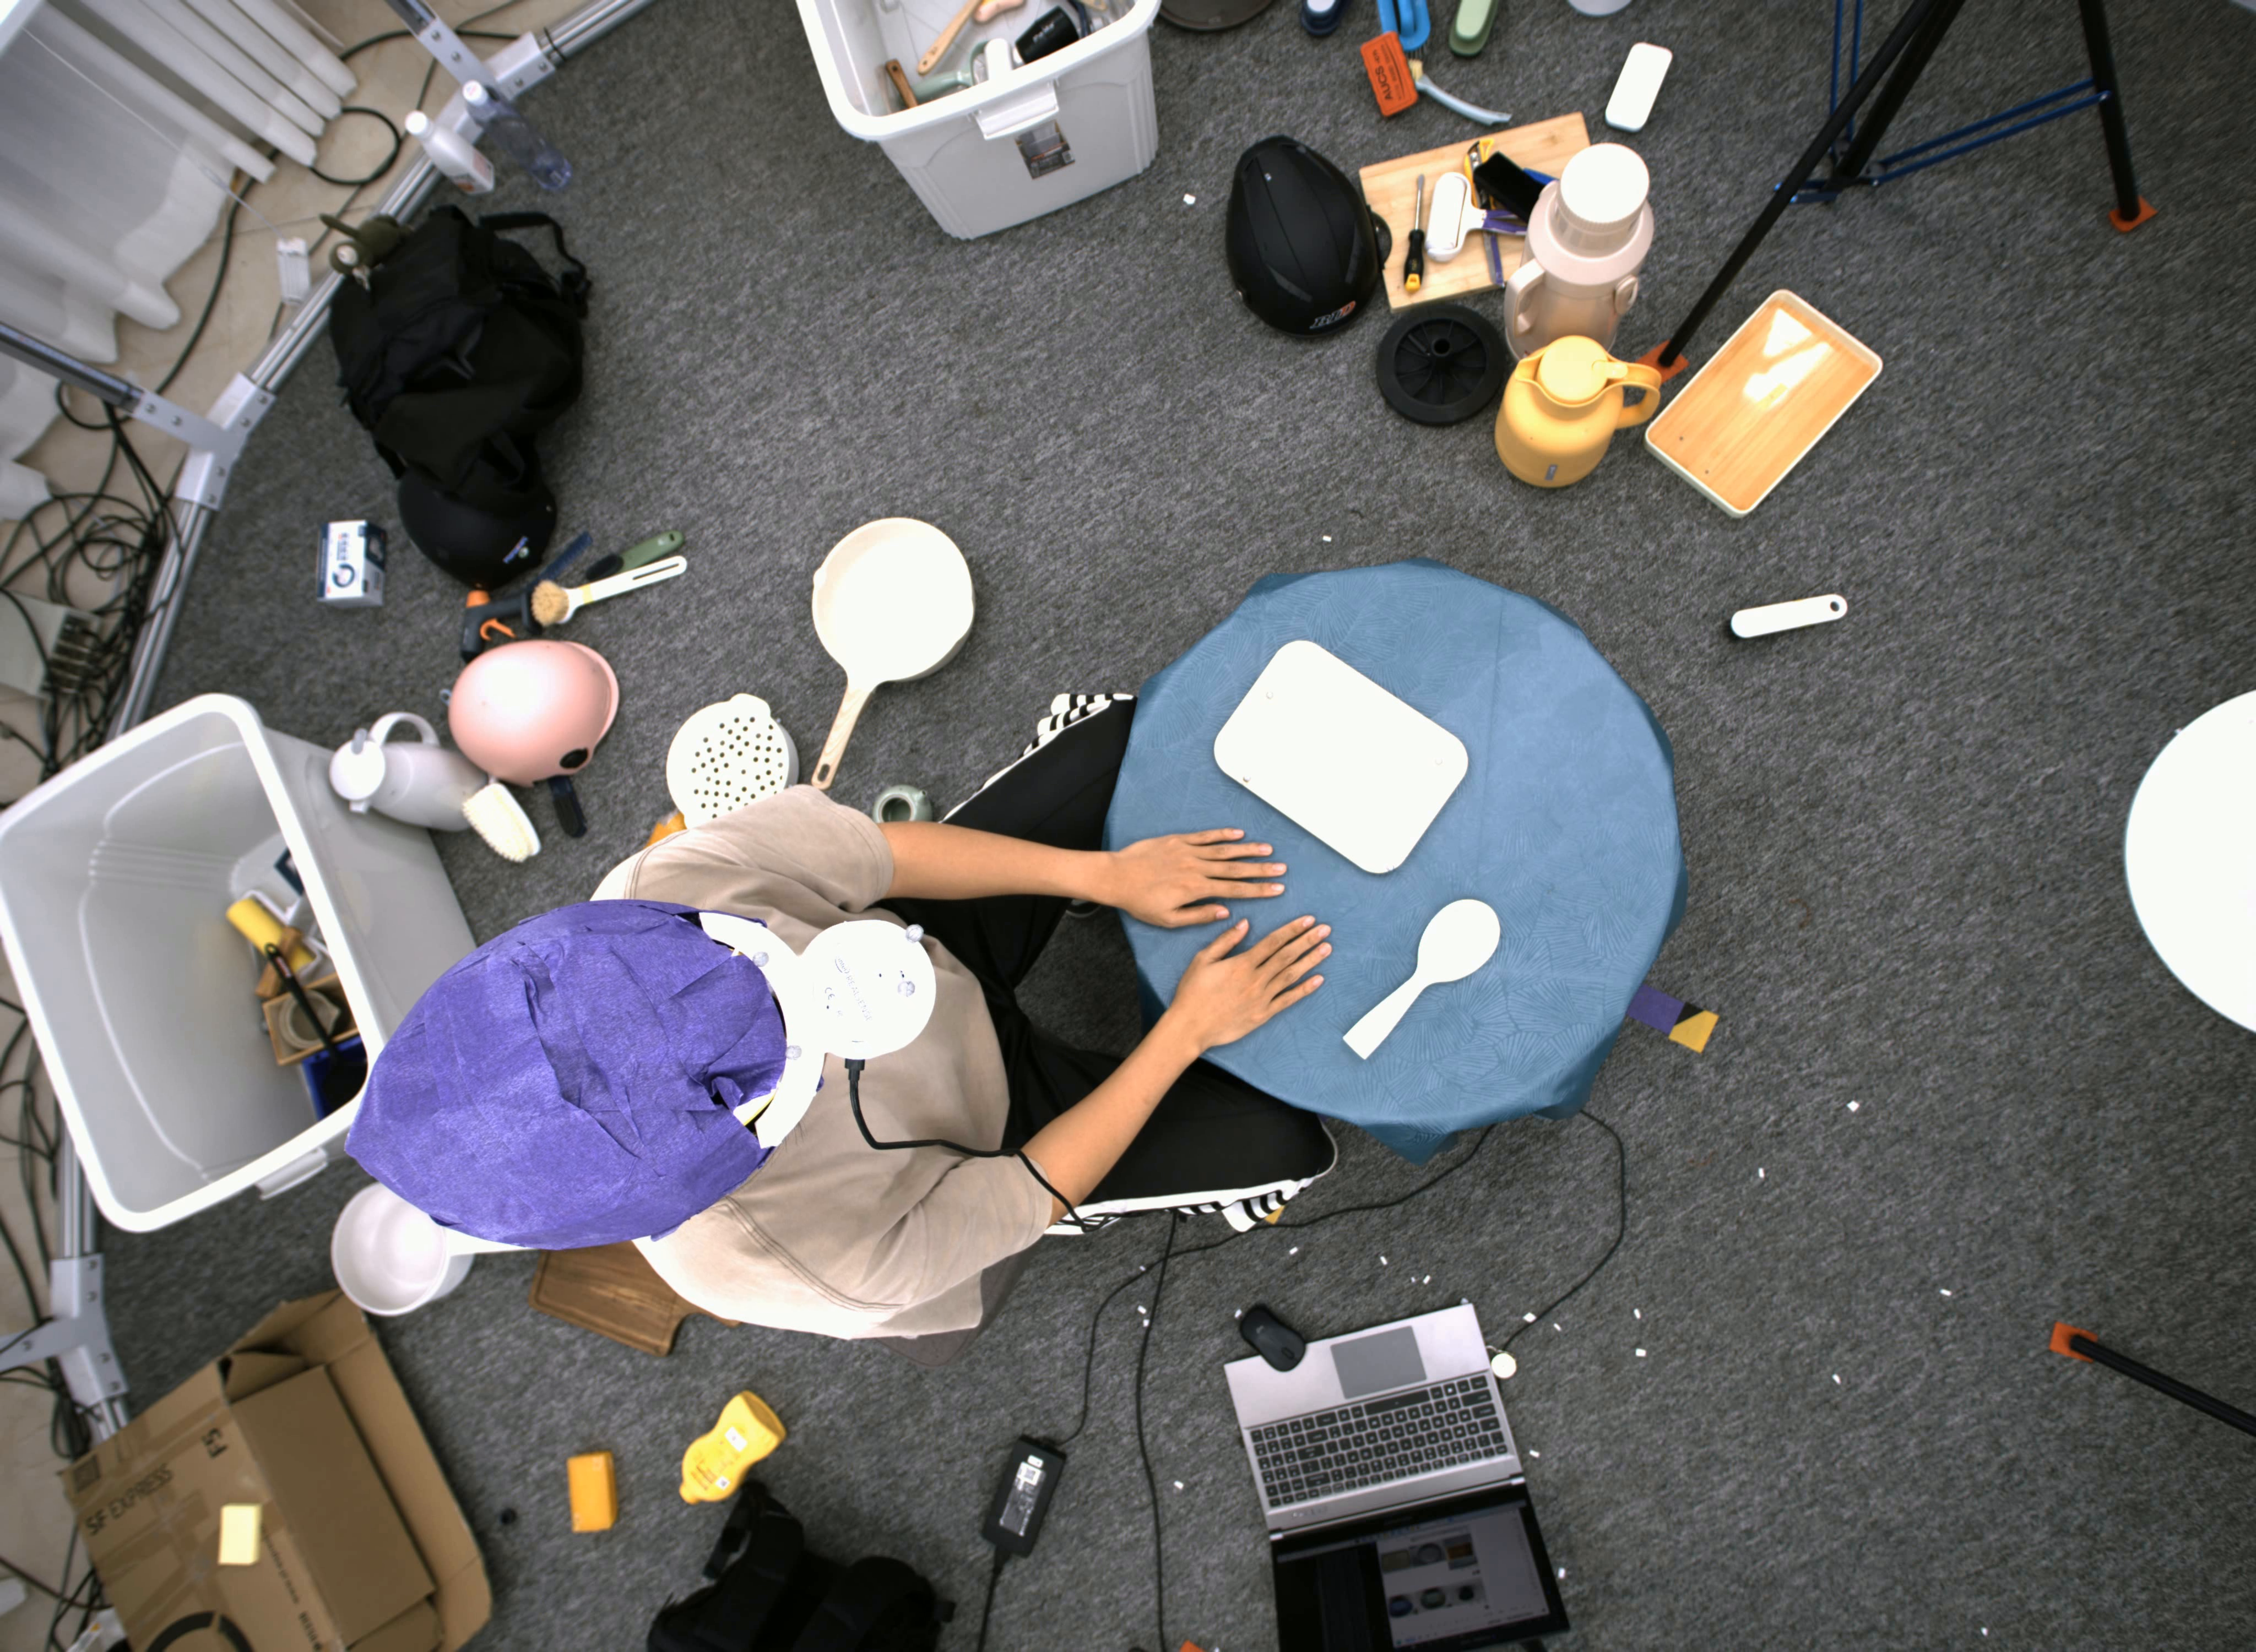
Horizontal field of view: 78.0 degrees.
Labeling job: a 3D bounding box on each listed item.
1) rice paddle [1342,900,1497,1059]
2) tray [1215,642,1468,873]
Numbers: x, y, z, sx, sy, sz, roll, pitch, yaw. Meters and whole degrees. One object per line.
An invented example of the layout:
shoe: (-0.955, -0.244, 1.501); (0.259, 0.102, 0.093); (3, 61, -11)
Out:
rice paddle: (0.303, 0.157, 1.434); (0.068, 0.029, 0.206); (44, 95, 9)
tray: (0.226, -0.075, 1.470); (0.239, 0.017, 0.171); (36, 93, 11)
